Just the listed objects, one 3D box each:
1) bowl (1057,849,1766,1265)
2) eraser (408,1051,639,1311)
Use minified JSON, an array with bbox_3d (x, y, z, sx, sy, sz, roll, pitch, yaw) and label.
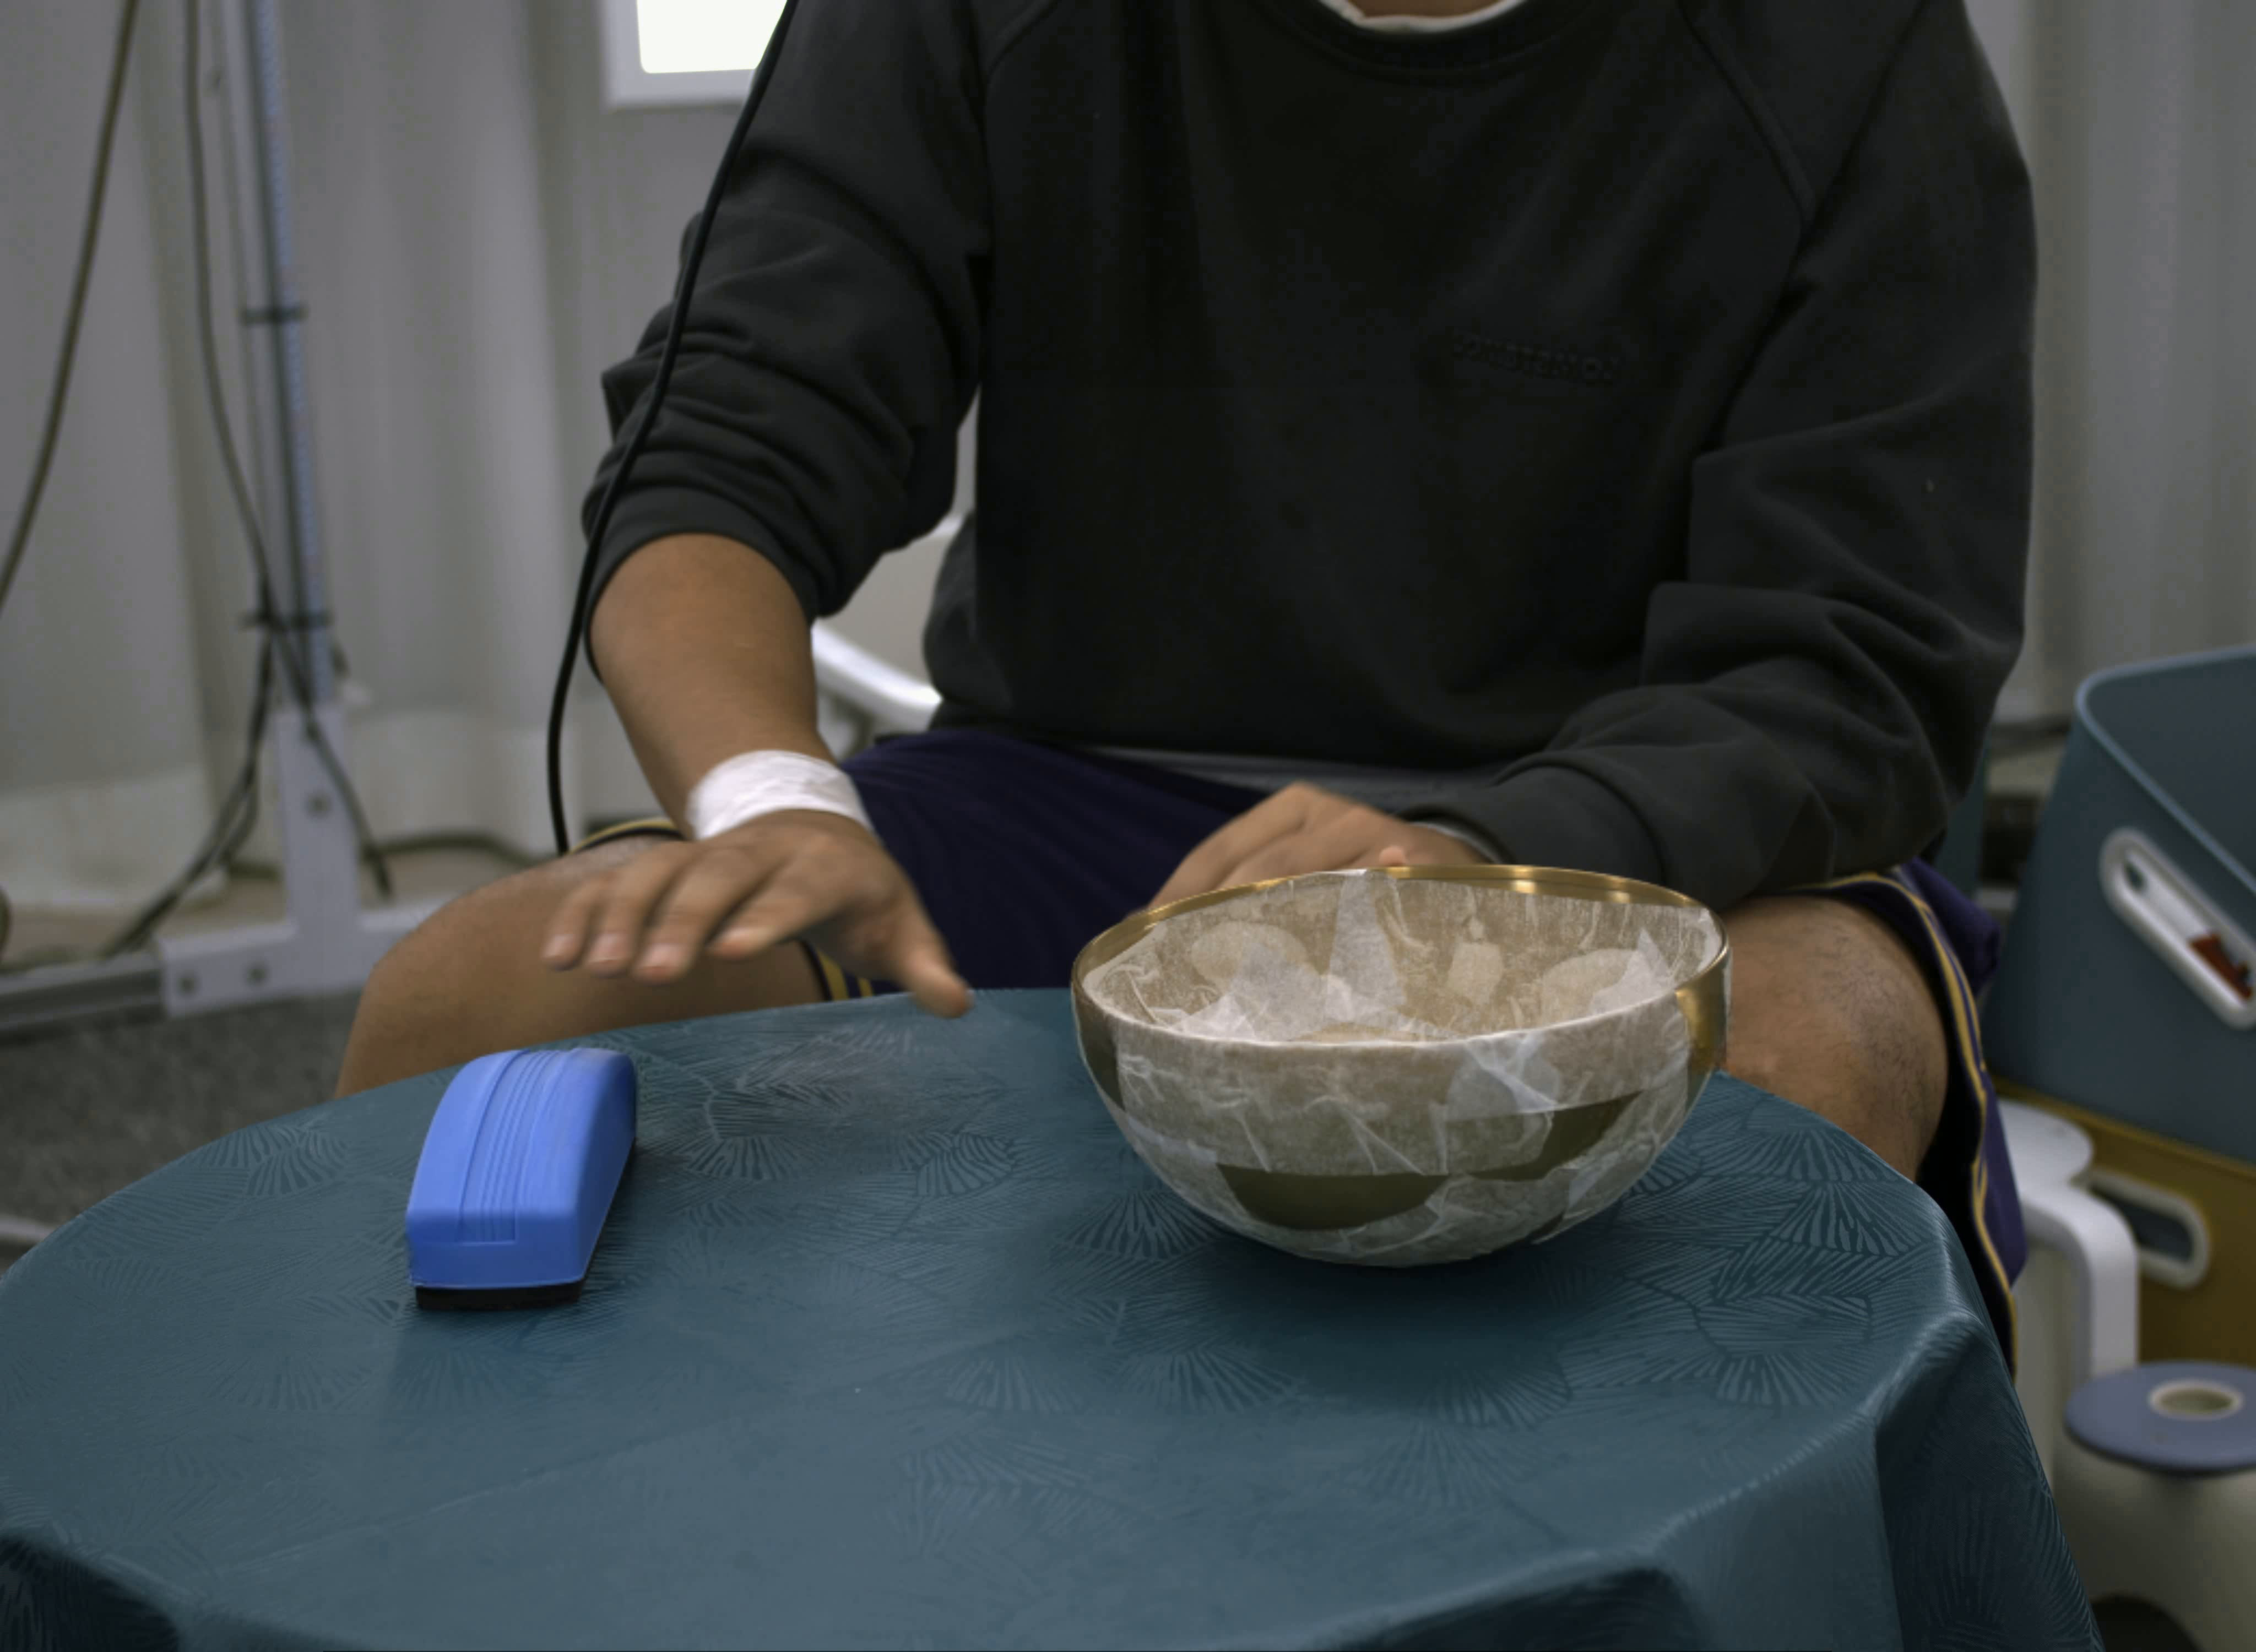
[{"bbox_3d":[0.086,0.078,1.655,0.214,0.094,0.216,-4,14,1],"label":"bowl"},{"bbox_3d":[-0.188,0.104,1.708,0.053,0.047,0.163,-6,14,3],"label":"eraser"}]
